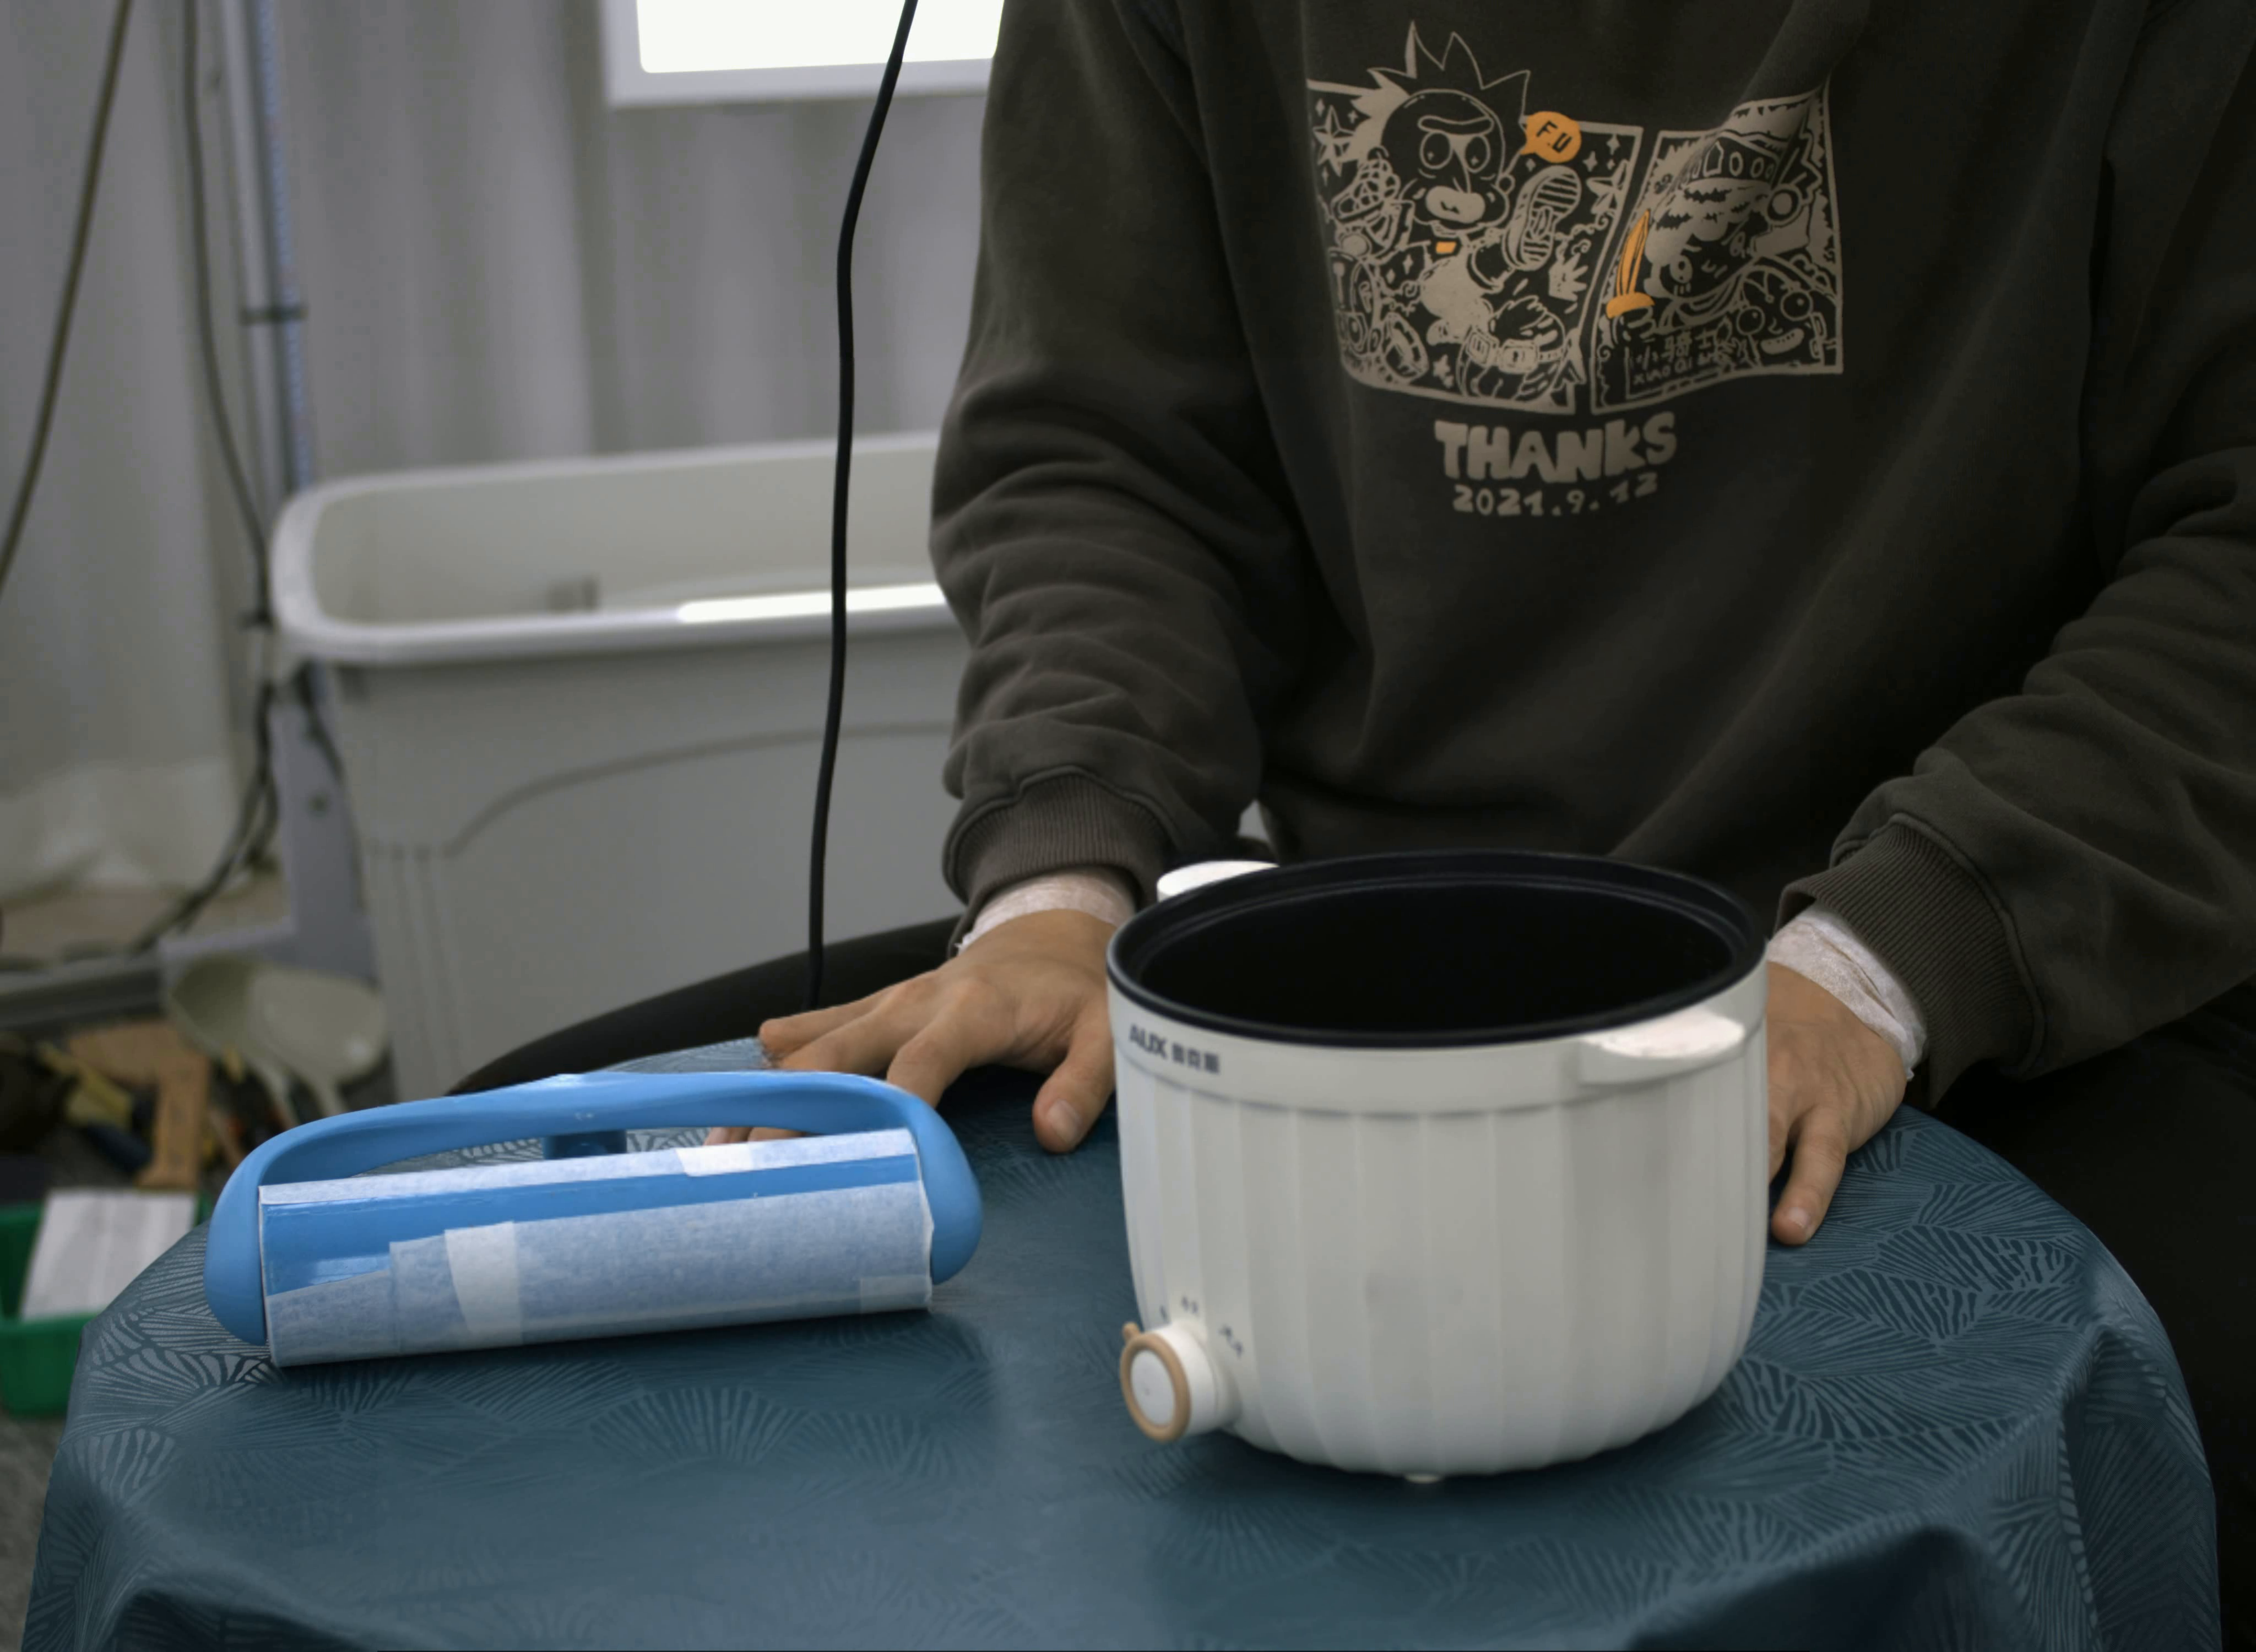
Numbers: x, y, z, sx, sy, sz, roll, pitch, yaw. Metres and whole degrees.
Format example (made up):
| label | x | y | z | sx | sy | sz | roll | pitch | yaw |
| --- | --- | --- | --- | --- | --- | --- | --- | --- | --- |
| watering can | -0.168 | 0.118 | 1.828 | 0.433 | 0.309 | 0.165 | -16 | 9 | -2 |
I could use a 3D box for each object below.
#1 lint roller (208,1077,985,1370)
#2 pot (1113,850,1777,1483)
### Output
| label | x | y | z | sx | sy | sz | roll | pitch | yaw |
| --- | --- | --- | --- | --- | --- | --- | --- | --- | --- |
| lint roller | -0.166 | 0.108 | 1.670 | 0.228 | 0.067 | 0.182 | -7 | 16 | -8 |
| pot | 0.085 | 0.096 | 1.509 | 0.189 | 0.142 | 0.242 | -9 | 14 | -34 |
